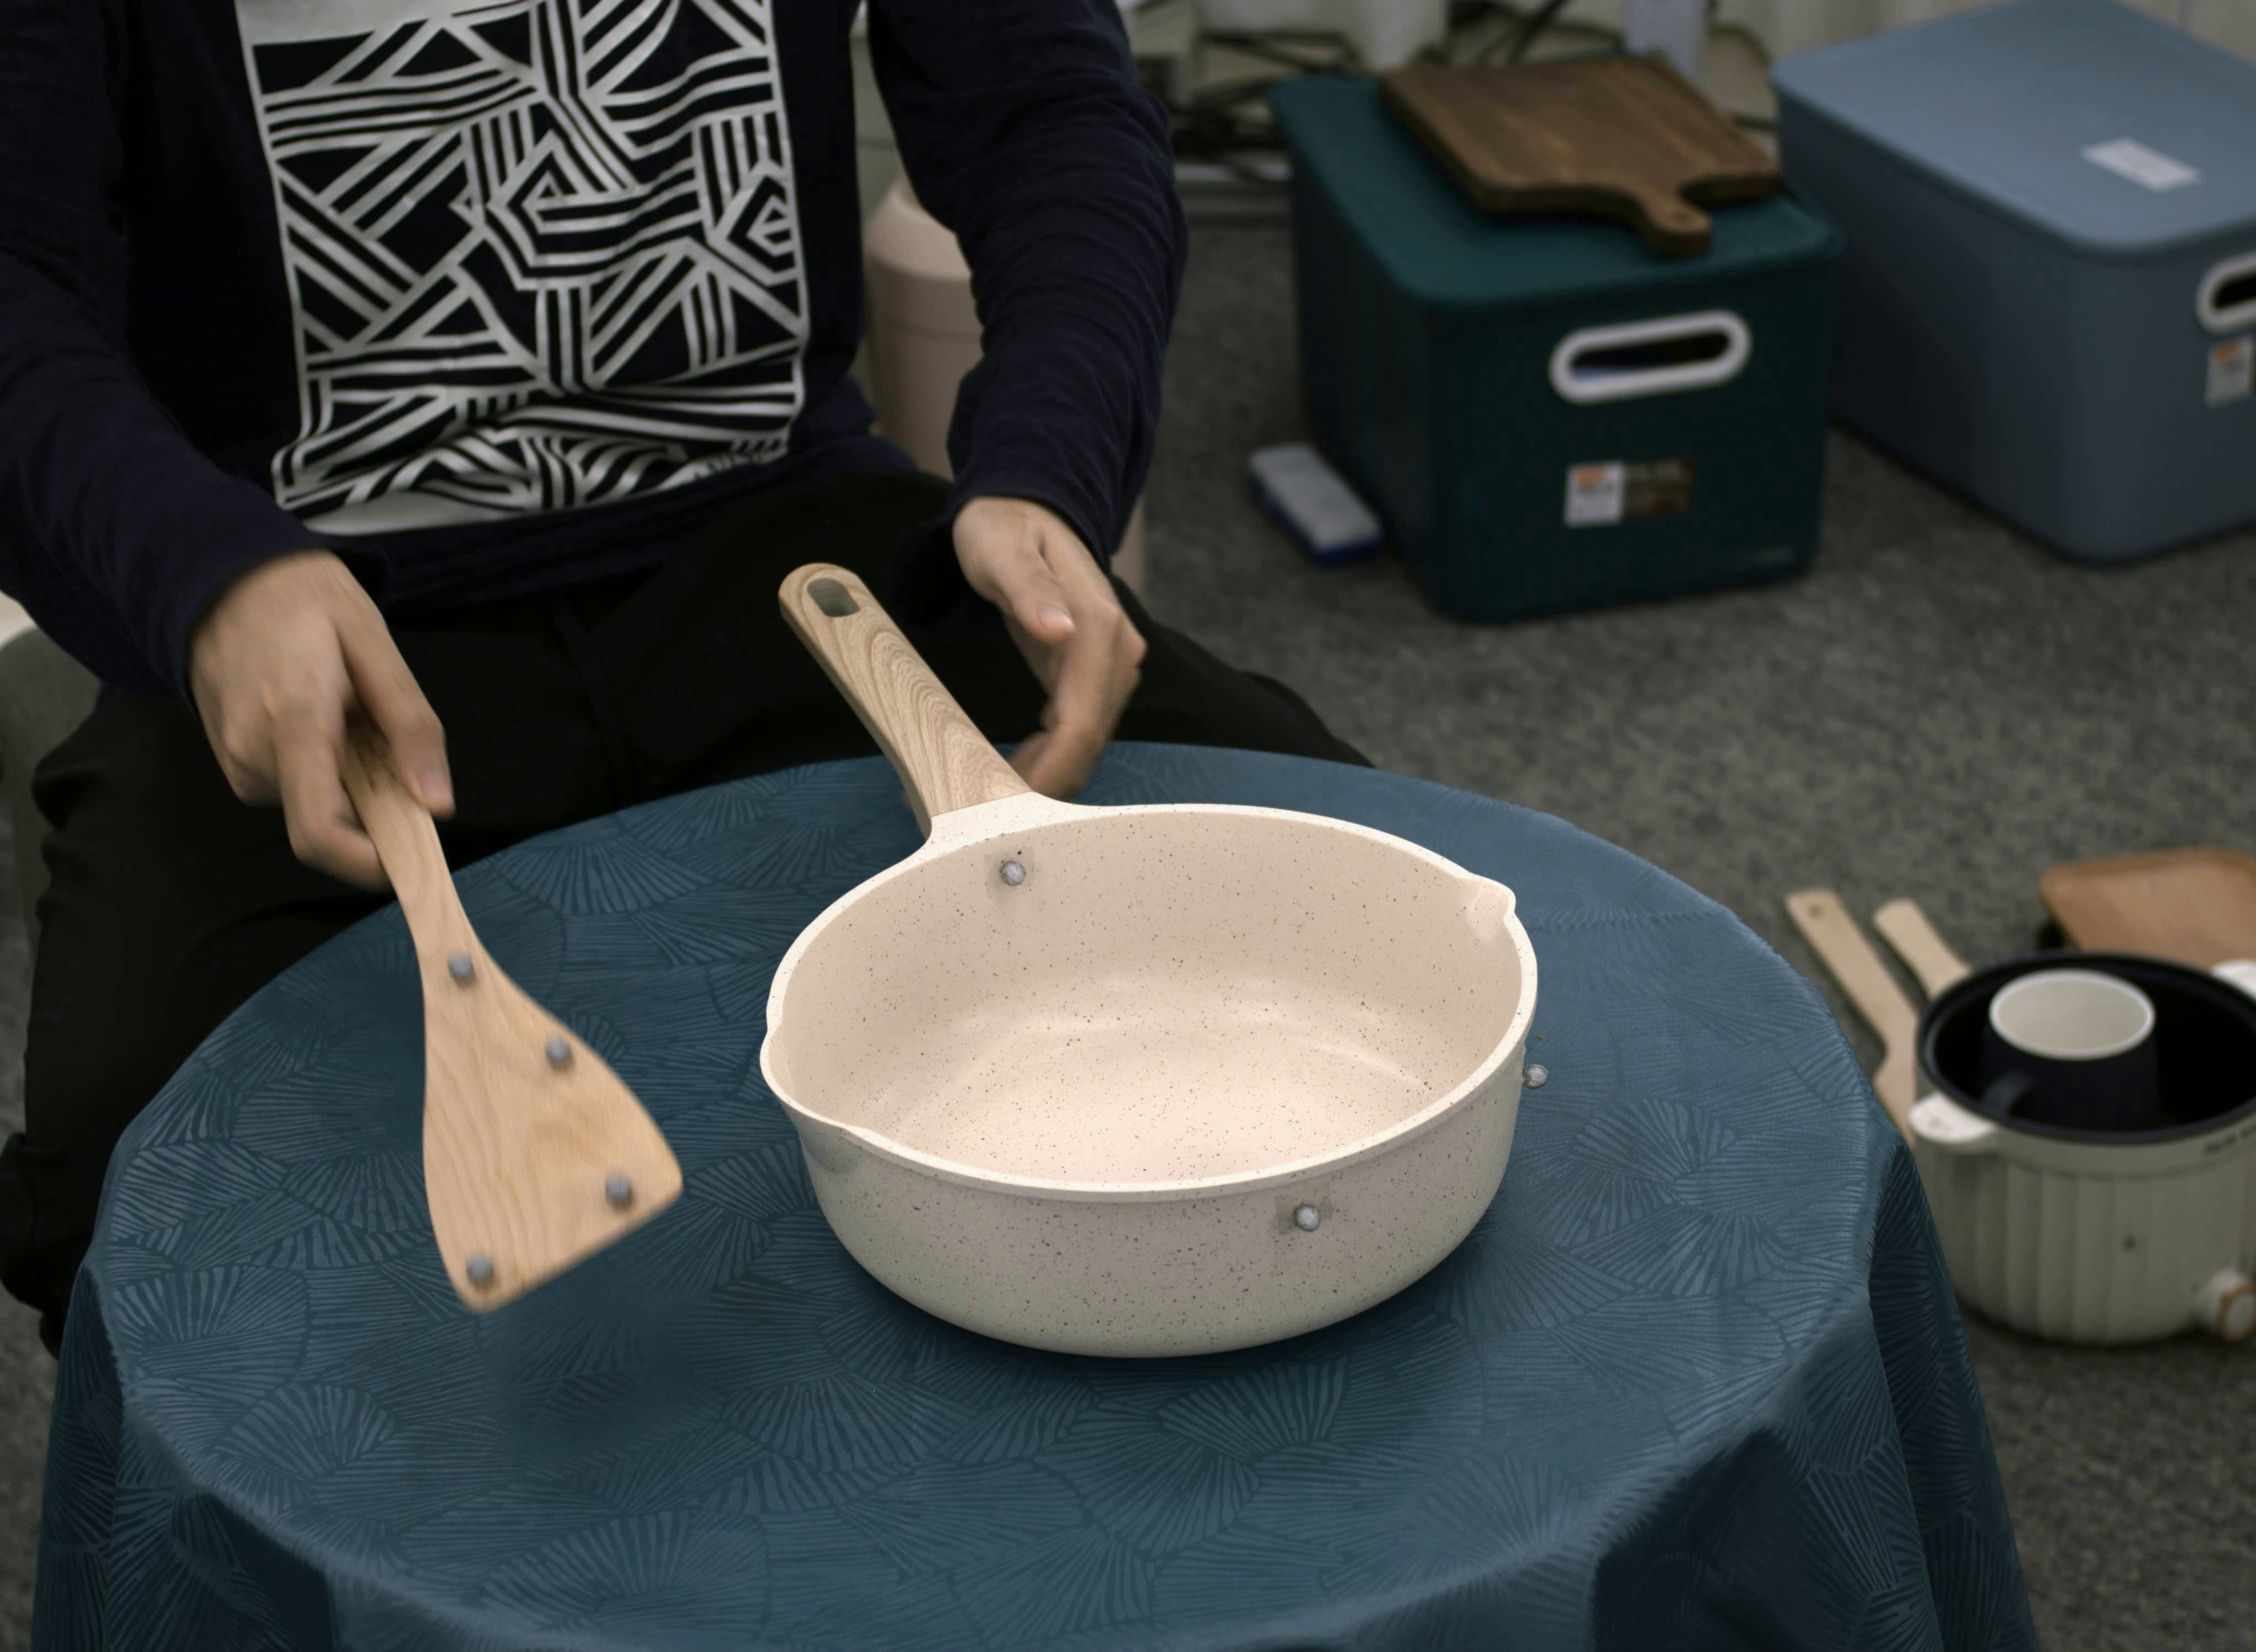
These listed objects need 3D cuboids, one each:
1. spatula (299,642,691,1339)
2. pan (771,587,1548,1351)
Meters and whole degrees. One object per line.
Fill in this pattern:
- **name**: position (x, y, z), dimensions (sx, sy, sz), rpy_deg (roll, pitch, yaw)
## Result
- **spatula**: position (-0.220, 0.042, 1.833), dimensions (0.080, 0.016, 0.332), rpy_deg (-22, 46, -6)
- **pan**: position (-0.025, 0.042, 1.919), dimensions (0.264, 0.101, 0.437), rpy_deg (-15, 29, -20)
